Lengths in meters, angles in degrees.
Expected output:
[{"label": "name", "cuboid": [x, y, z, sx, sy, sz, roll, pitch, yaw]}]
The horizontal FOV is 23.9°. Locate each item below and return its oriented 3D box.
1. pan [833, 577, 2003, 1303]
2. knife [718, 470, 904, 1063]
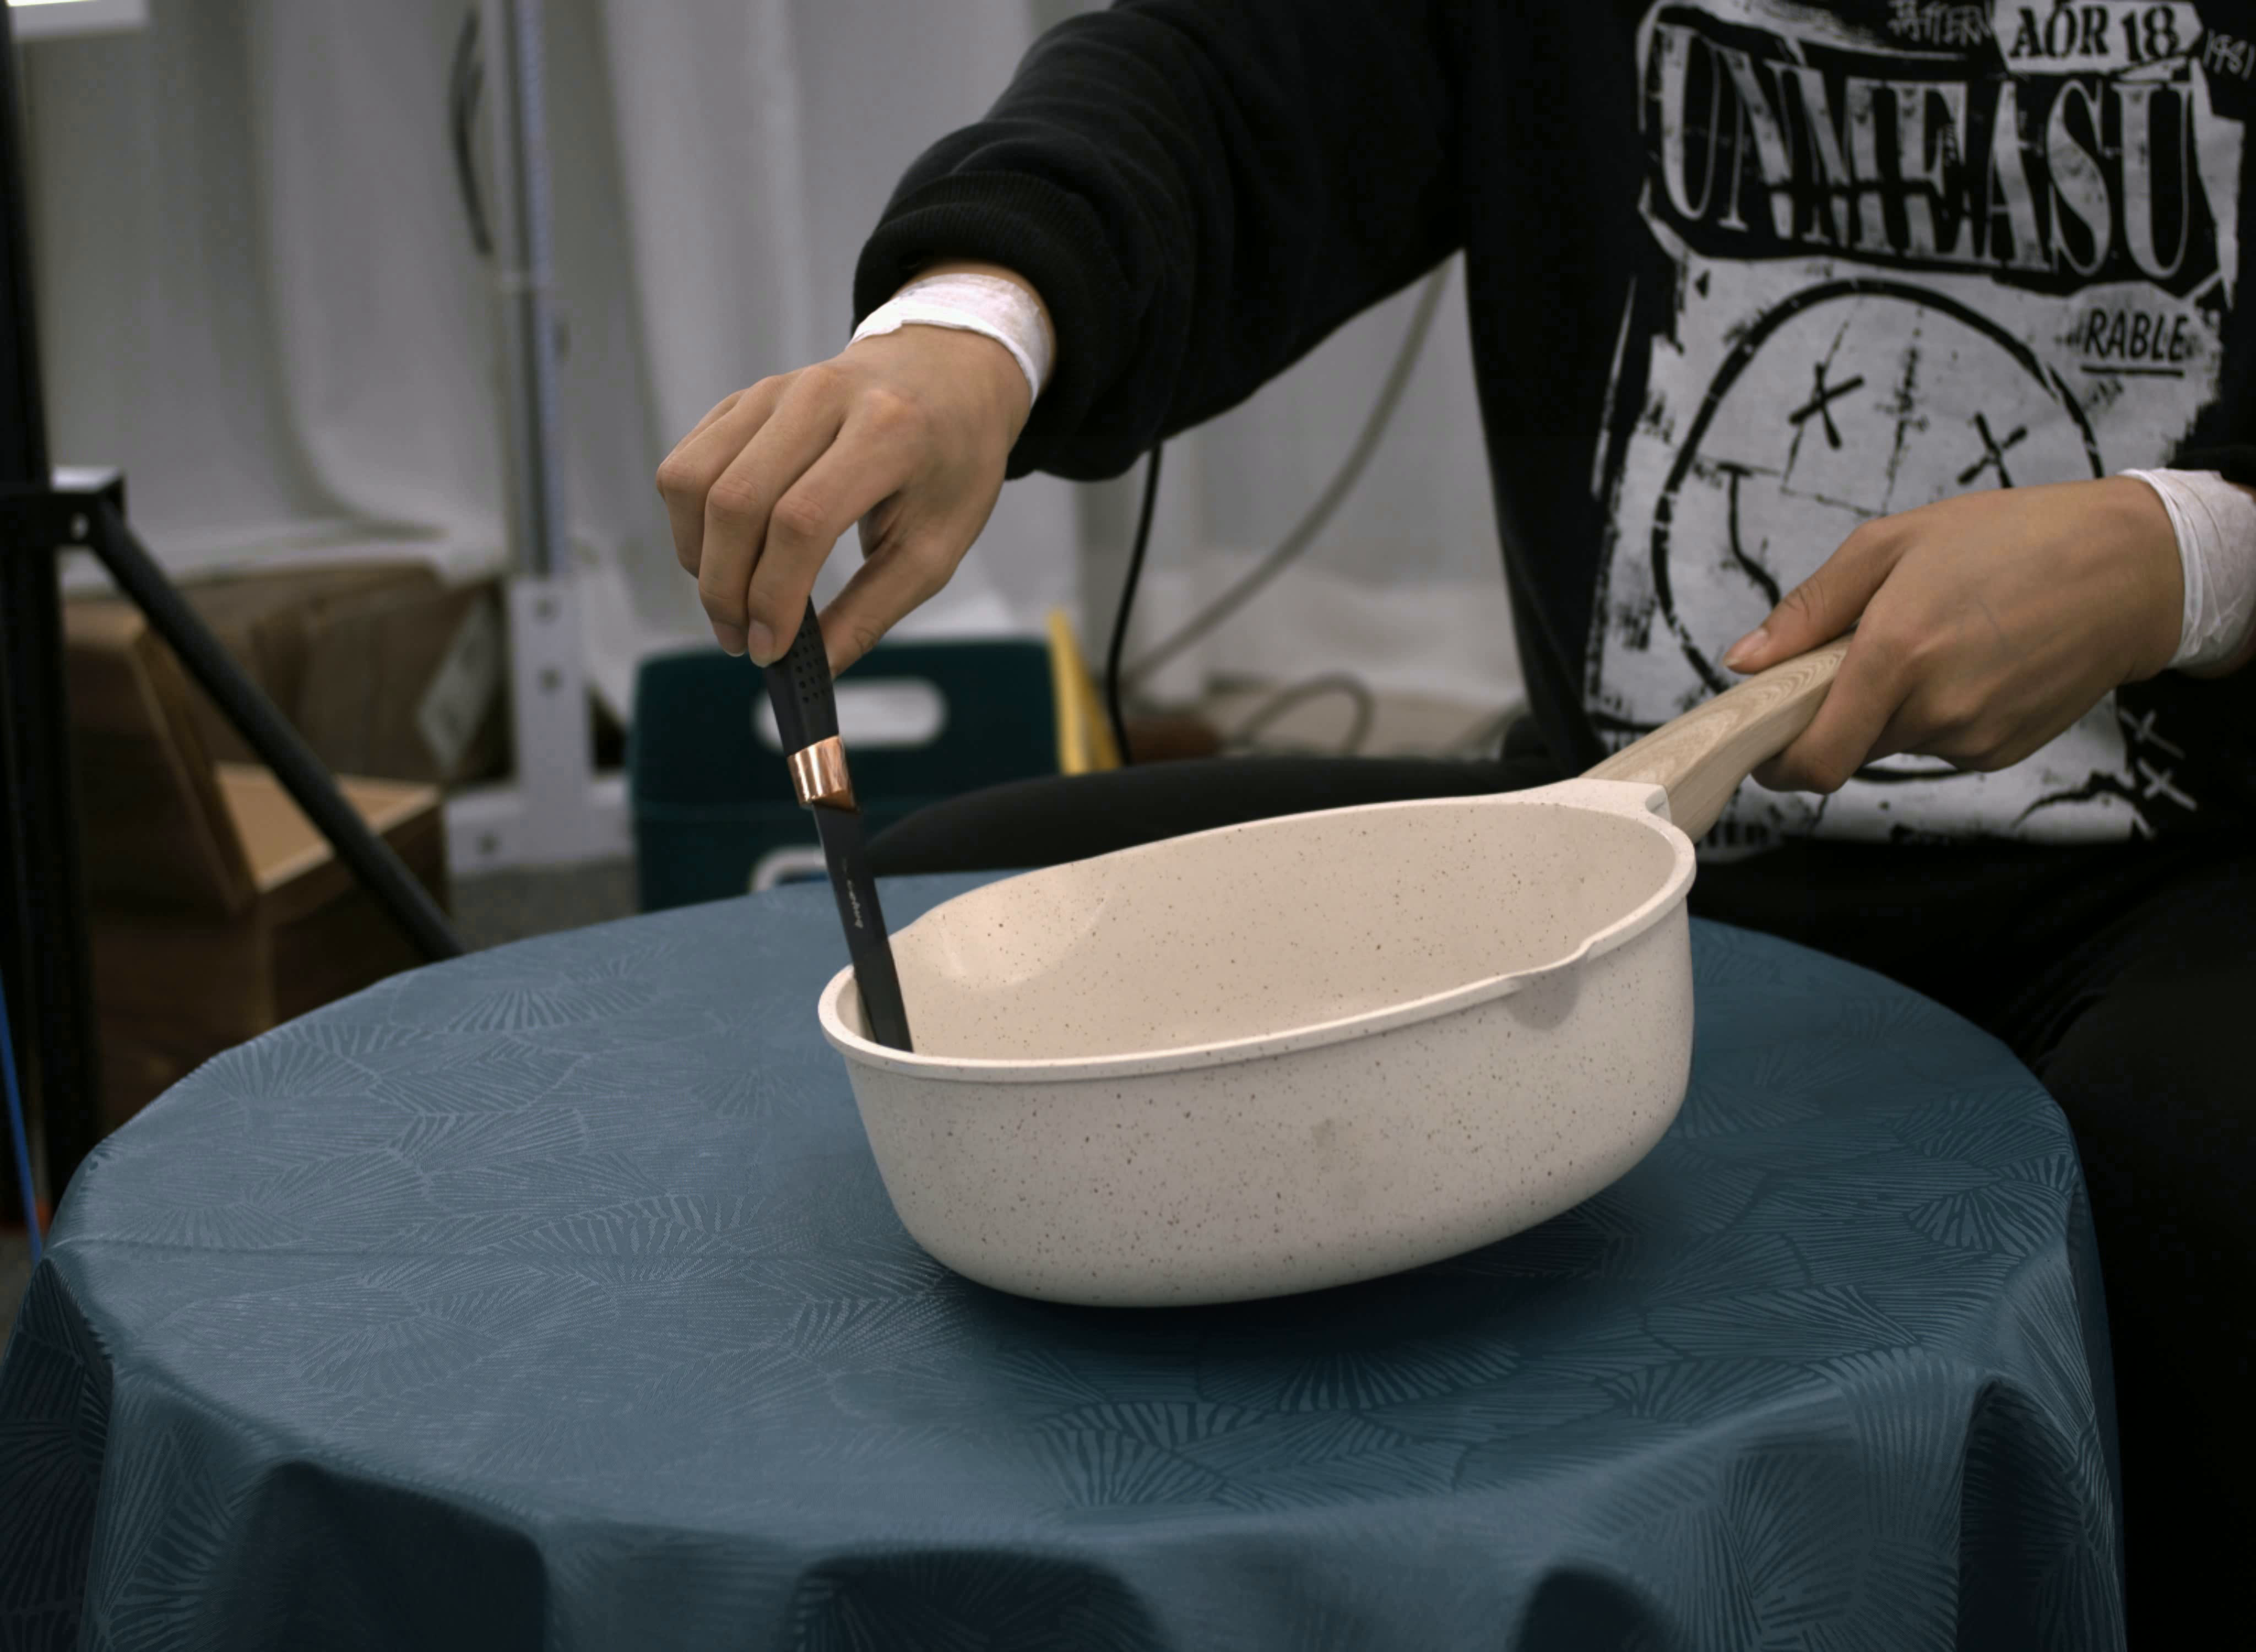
[{"label": "pan", "cuboid": [0.115, 0.032, 1.545, 0.426, 0.102, 0.269, -20, 14, -35]}, {"label": "knife", "cuboid": [-0.086, -0.002, 1.554, 0.017, 0.228, 0.025, -24, -22, 17]}]
